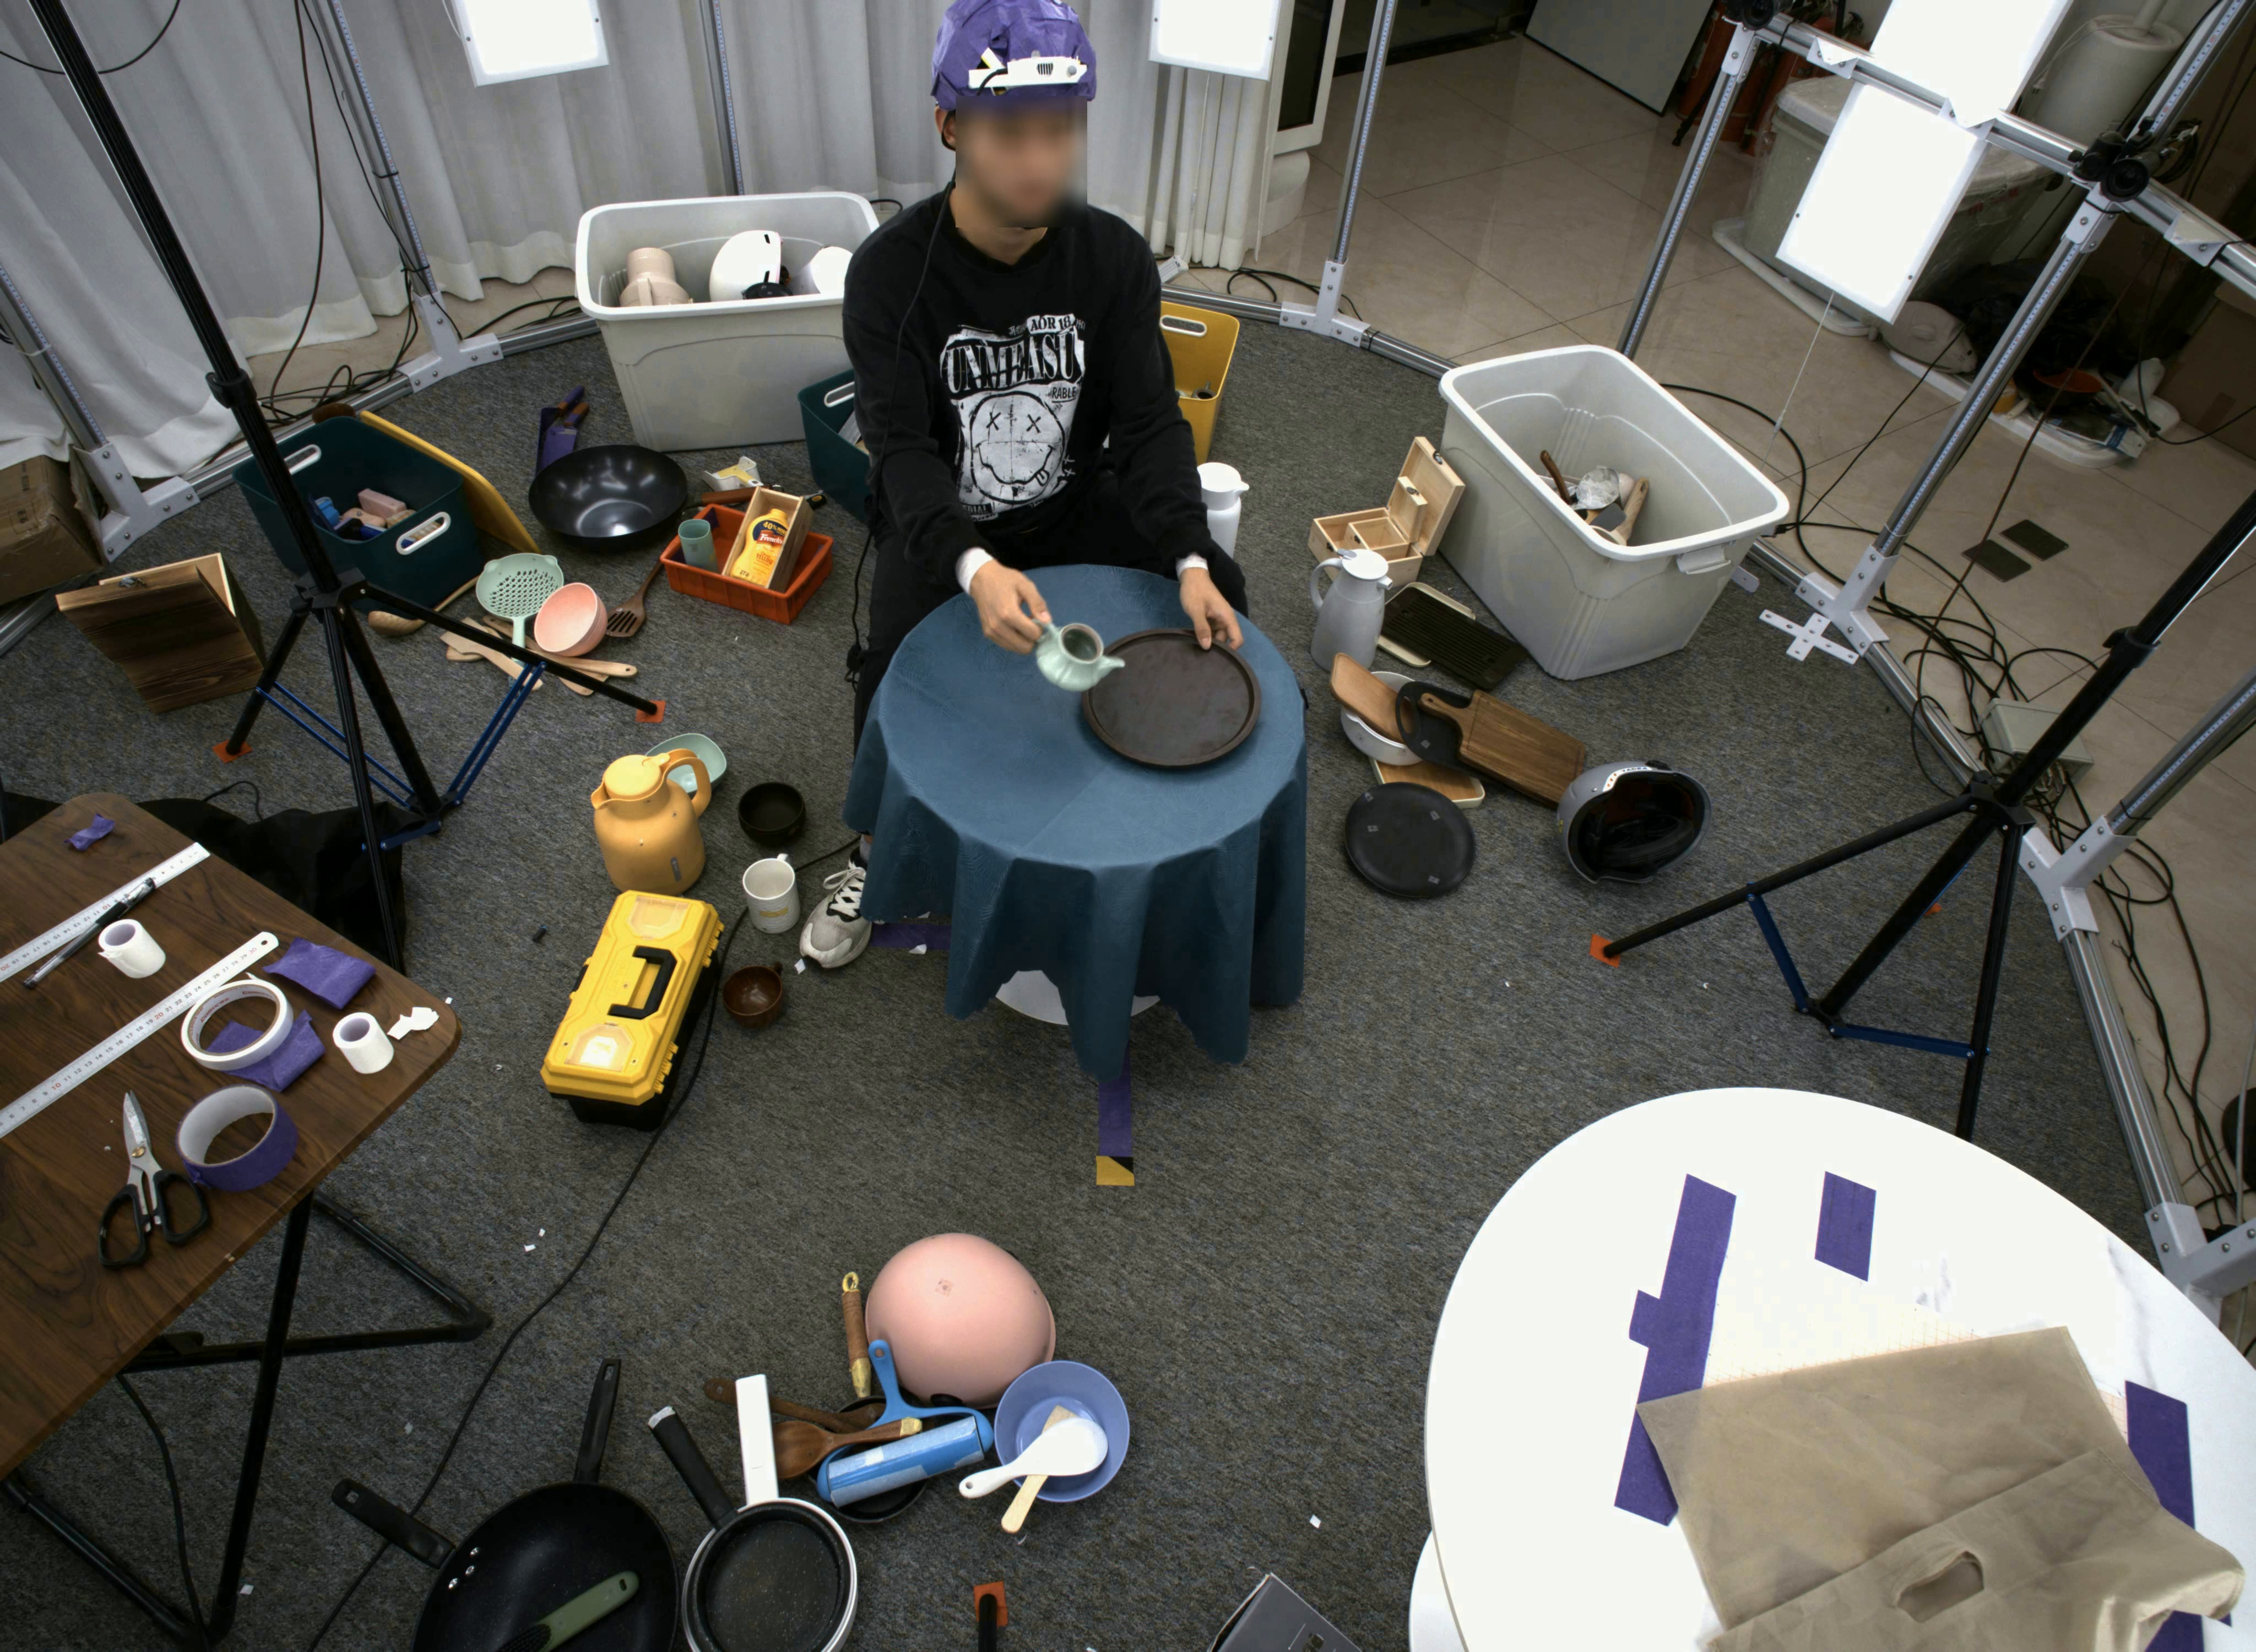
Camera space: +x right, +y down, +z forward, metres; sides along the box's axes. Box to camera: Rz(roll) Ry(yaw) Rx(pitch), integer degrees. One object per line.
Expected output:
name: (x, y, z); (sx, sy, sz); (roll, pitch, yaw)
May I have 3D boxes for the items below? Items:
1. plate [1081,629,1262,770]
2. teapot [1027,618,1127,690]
plate: (0.060, -0.179, 1.800); (0.254, 0.028, 0.261); (0, 55, 0)
teapot: (-0.073, -0.231, 1.690); (0.136, 0.060, 0.098); (25, 55, -14)
